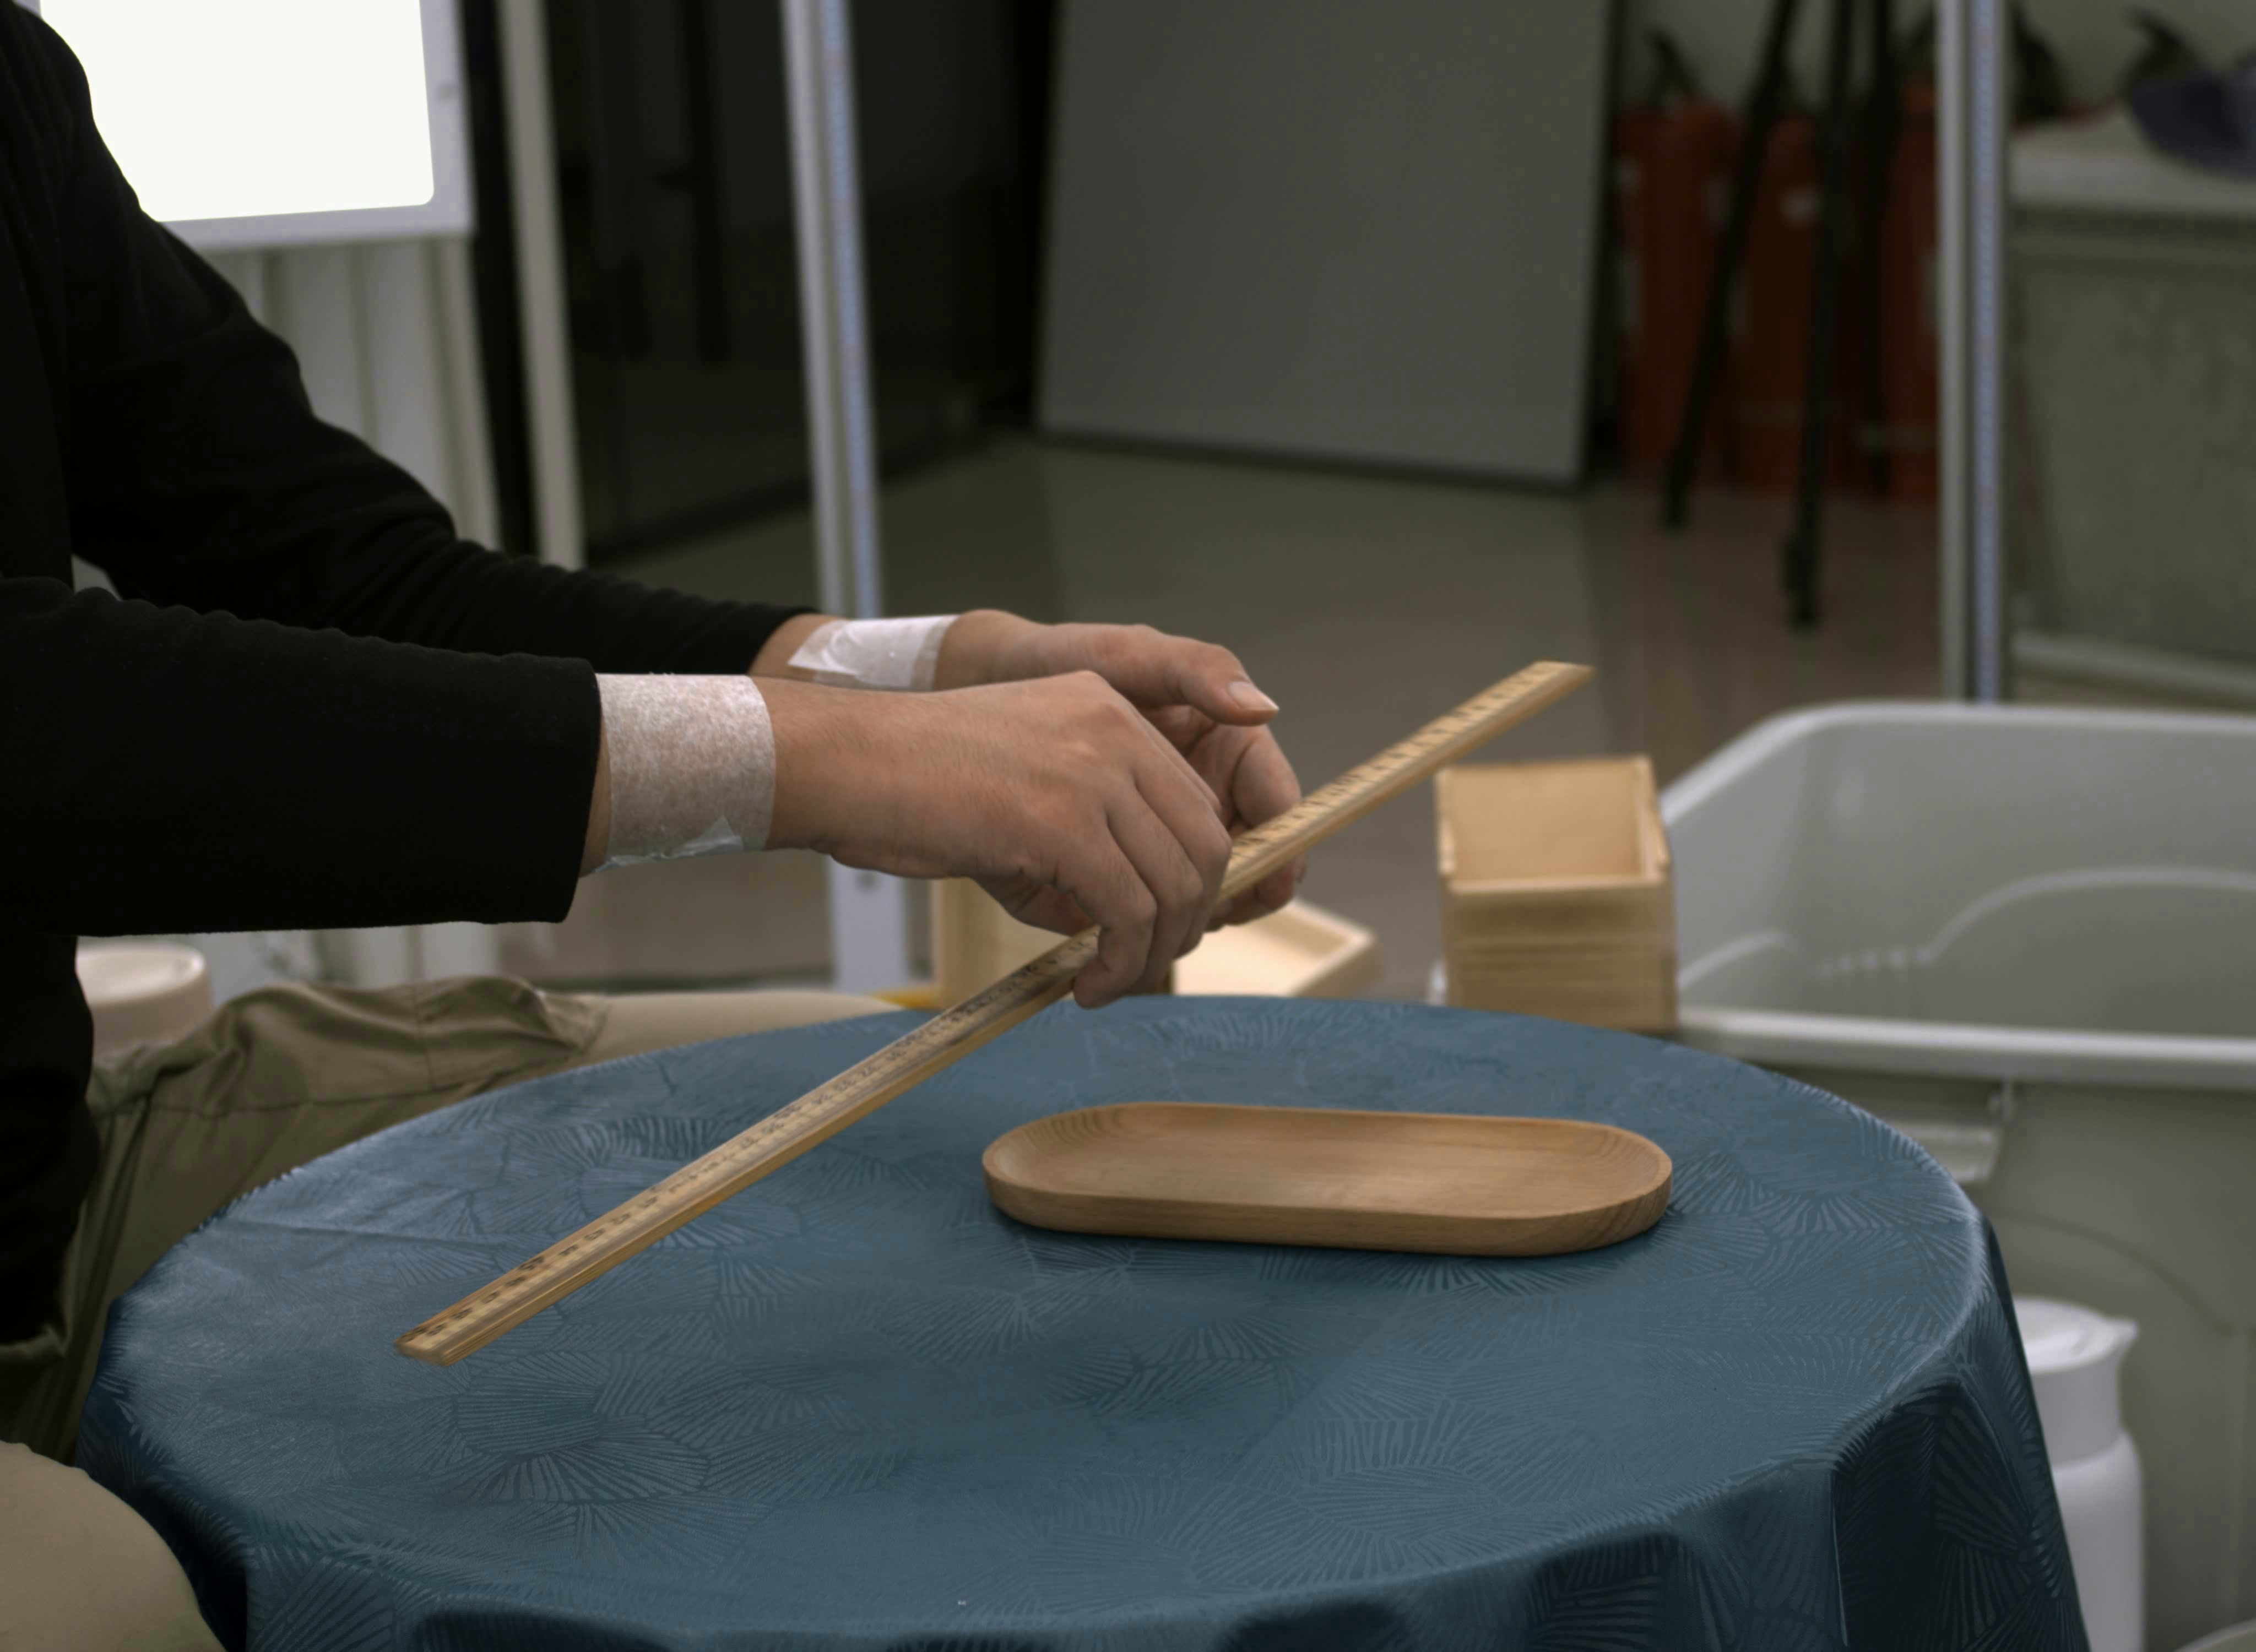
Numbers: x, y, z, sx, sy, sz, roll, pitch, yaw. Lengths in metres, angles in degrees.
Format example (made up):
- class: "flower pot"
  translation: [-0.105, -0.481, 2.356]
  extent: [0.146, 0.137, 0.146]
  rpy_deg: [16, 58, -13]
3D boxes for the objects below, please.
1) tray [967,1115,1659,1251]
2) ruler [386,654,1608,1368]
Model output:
- class: "tray"
  translation: [0.059, 0.115, 1.741]
  extent: [0.230, 0.020, 0.101]
  rpy_deg: [-1, 12, 19]
- class: "ruler"
  translation: [-0.025, 0.047, 1.647]
  extent: [0.492, 0.006, 0.027]
  rpy_deg: [-30, 21, -34]
